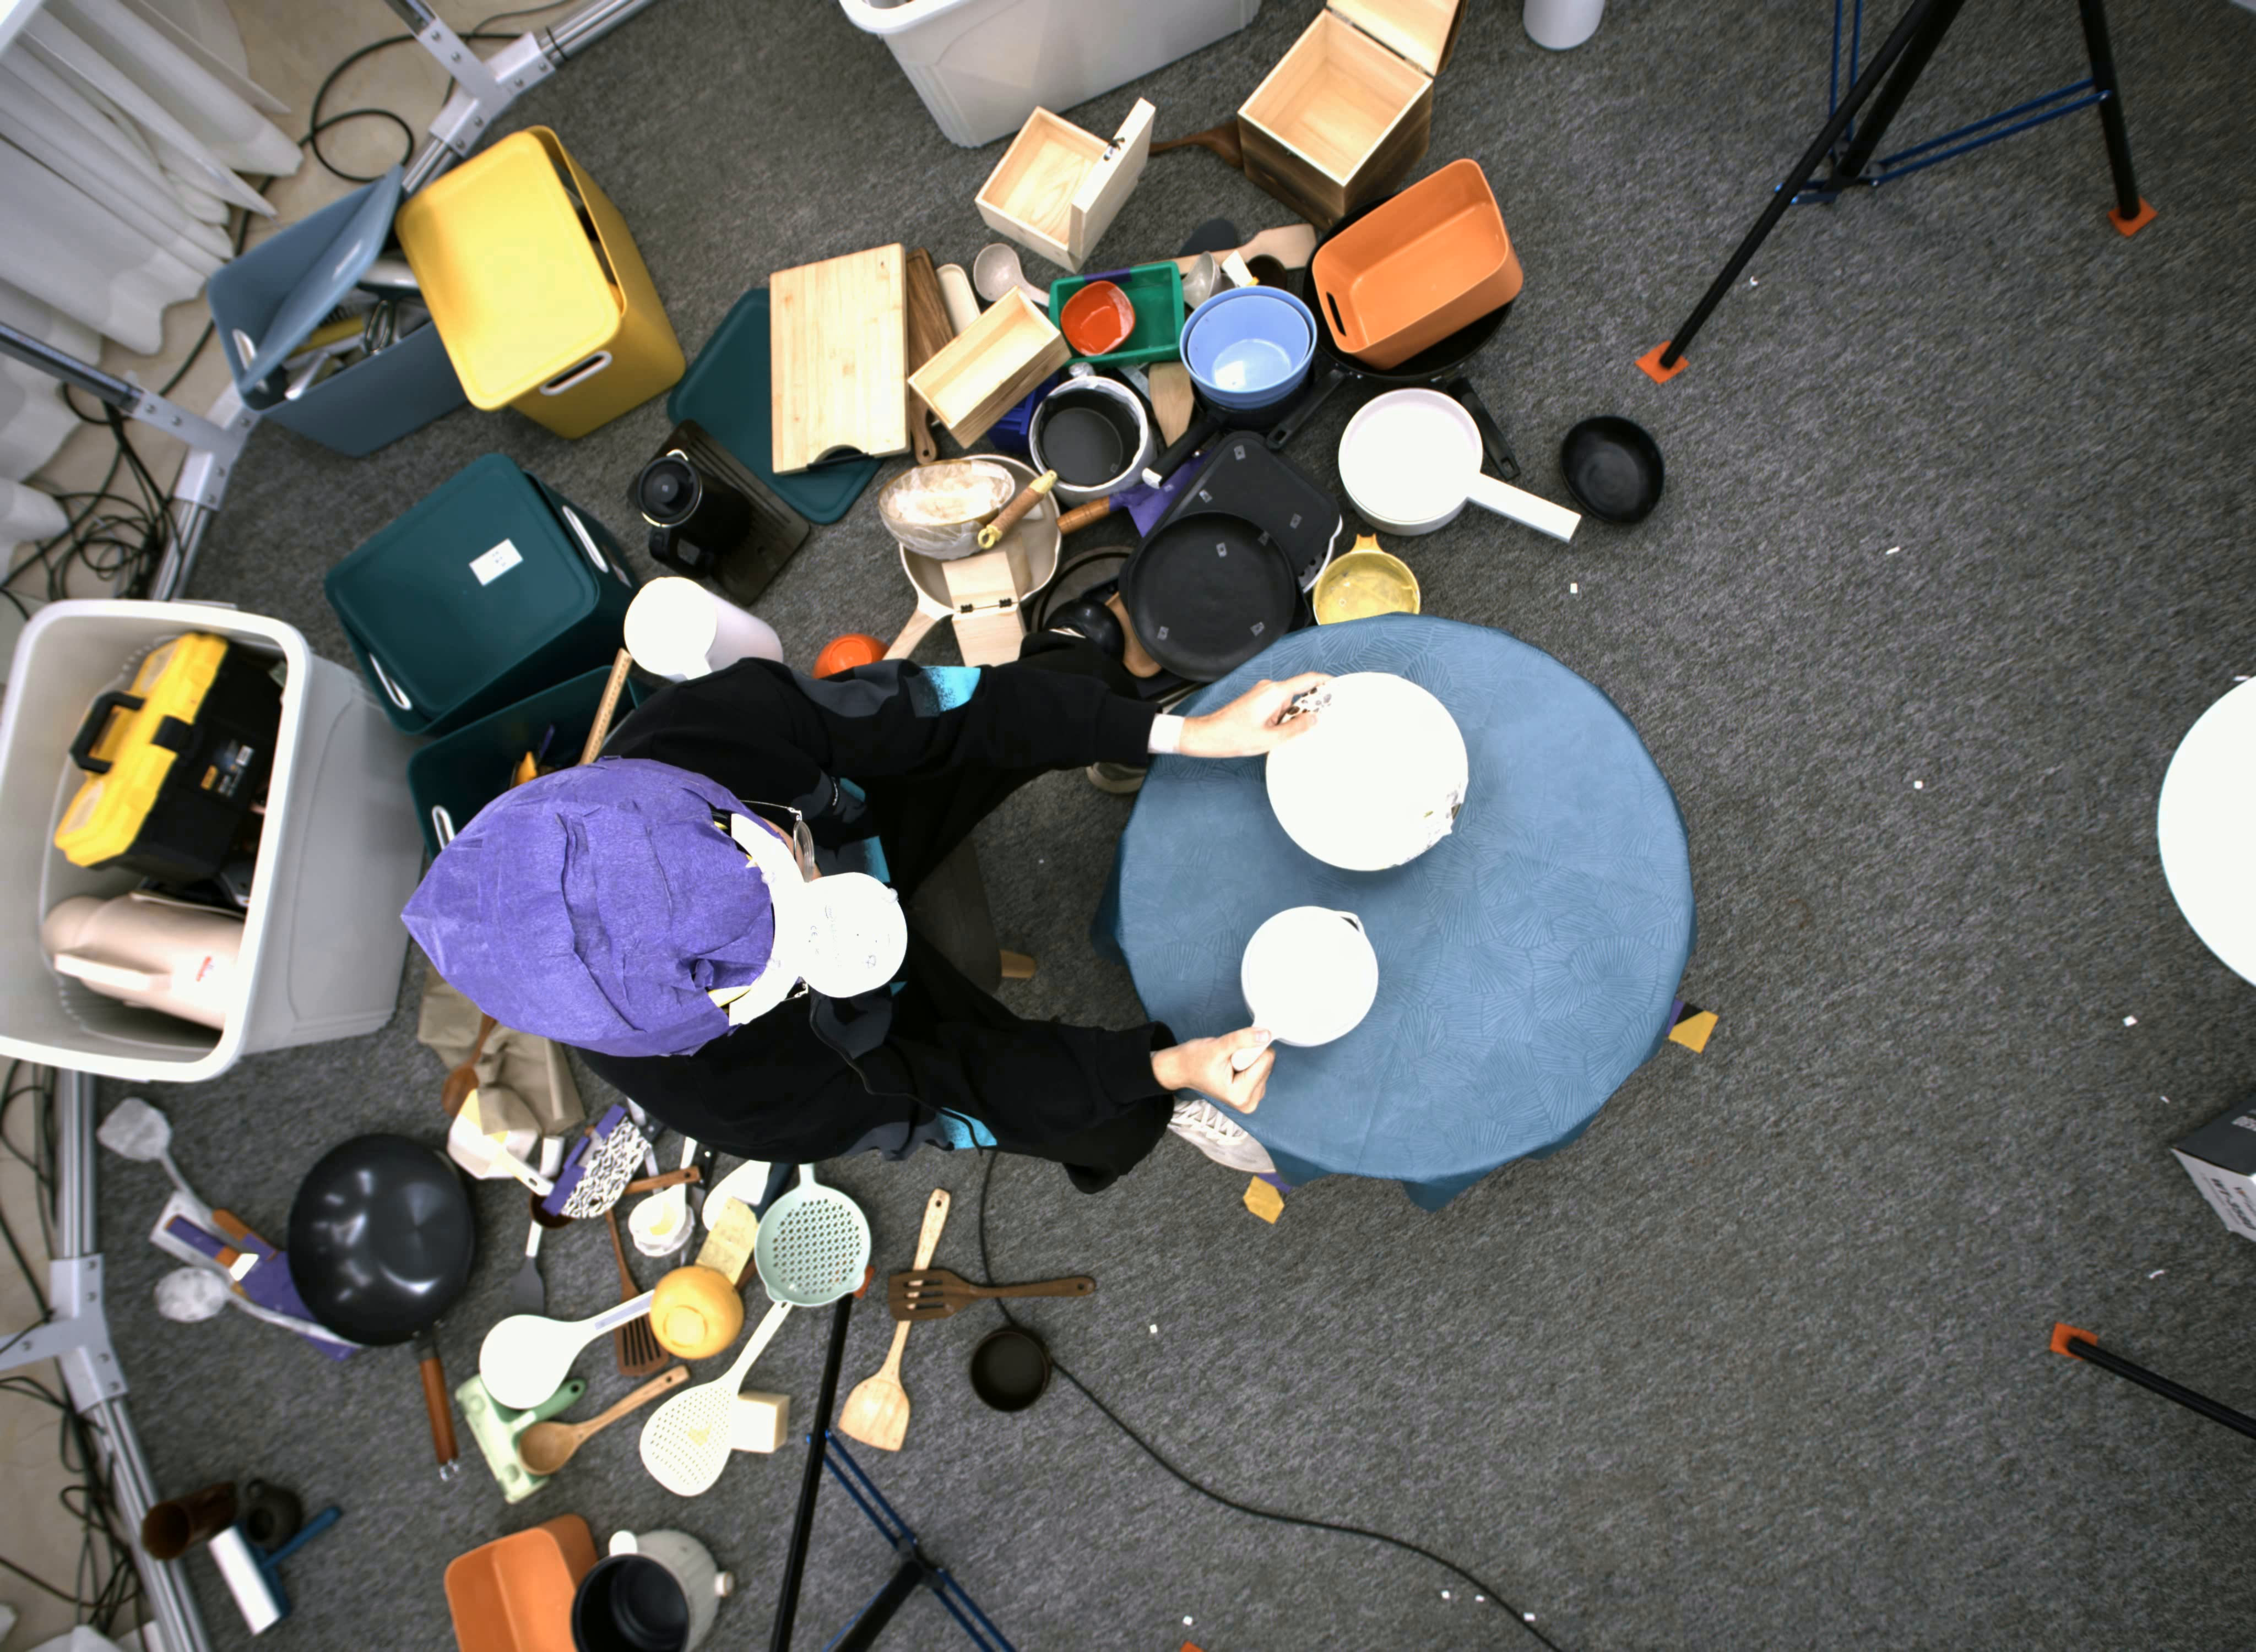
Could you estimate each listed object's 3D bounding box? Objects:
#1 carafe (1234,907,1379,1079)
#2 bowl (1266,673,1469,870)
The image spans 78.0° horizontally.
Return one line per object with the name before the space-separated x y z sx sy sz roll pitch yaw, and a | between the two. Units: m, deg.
carafe | 0.163 0.169 1.370 0.132 0.183 0.191 37 89 11
bowl | 0.249 -0.052 1.428 0.205 0.078 0.203 -2 84 14
